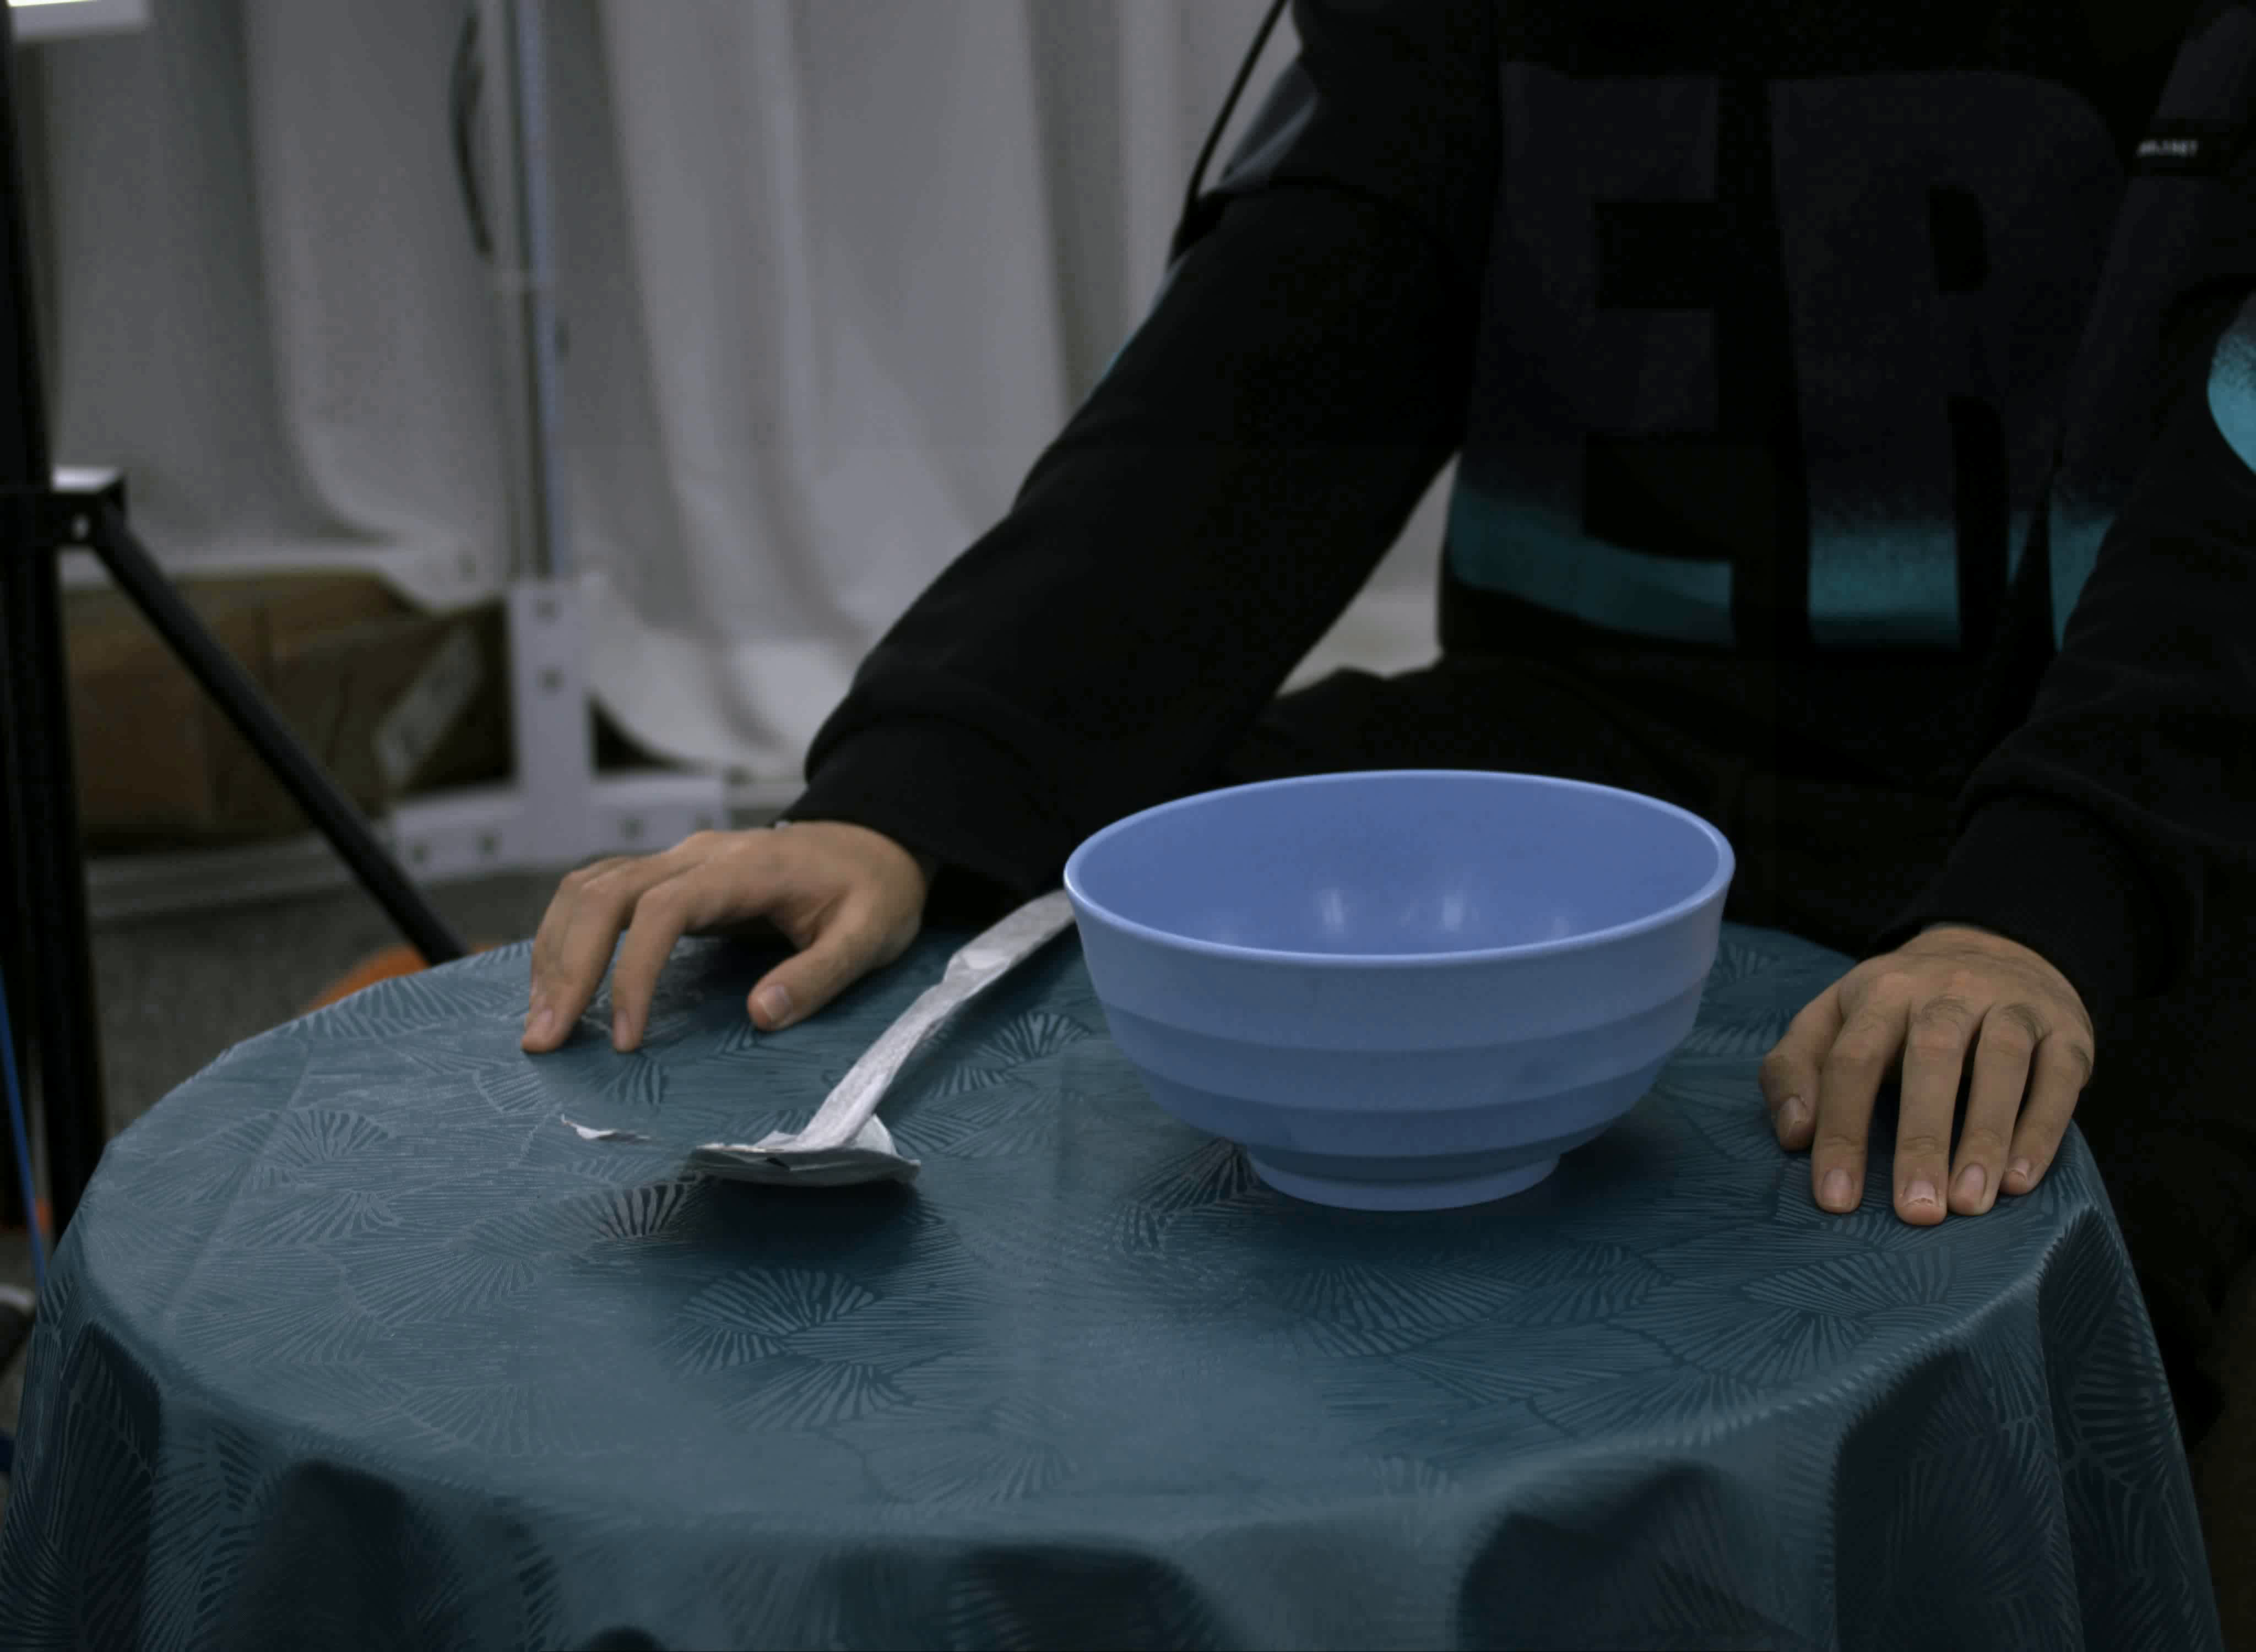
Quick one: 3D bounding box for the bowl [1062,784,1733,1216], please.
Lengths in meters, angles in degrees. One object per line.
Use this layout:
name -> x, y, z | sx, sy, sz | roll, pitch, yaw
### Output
bowl -> 0.081, 0.056, 1.561 | 0.195, 0.095, 0.197 | -3, 14, -1

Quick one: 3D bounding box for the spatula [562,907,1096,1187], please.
spatula -> -0.063, 0.059, 1.671 | 0.100, 0.045, 0.361 | 1, 16, 20
